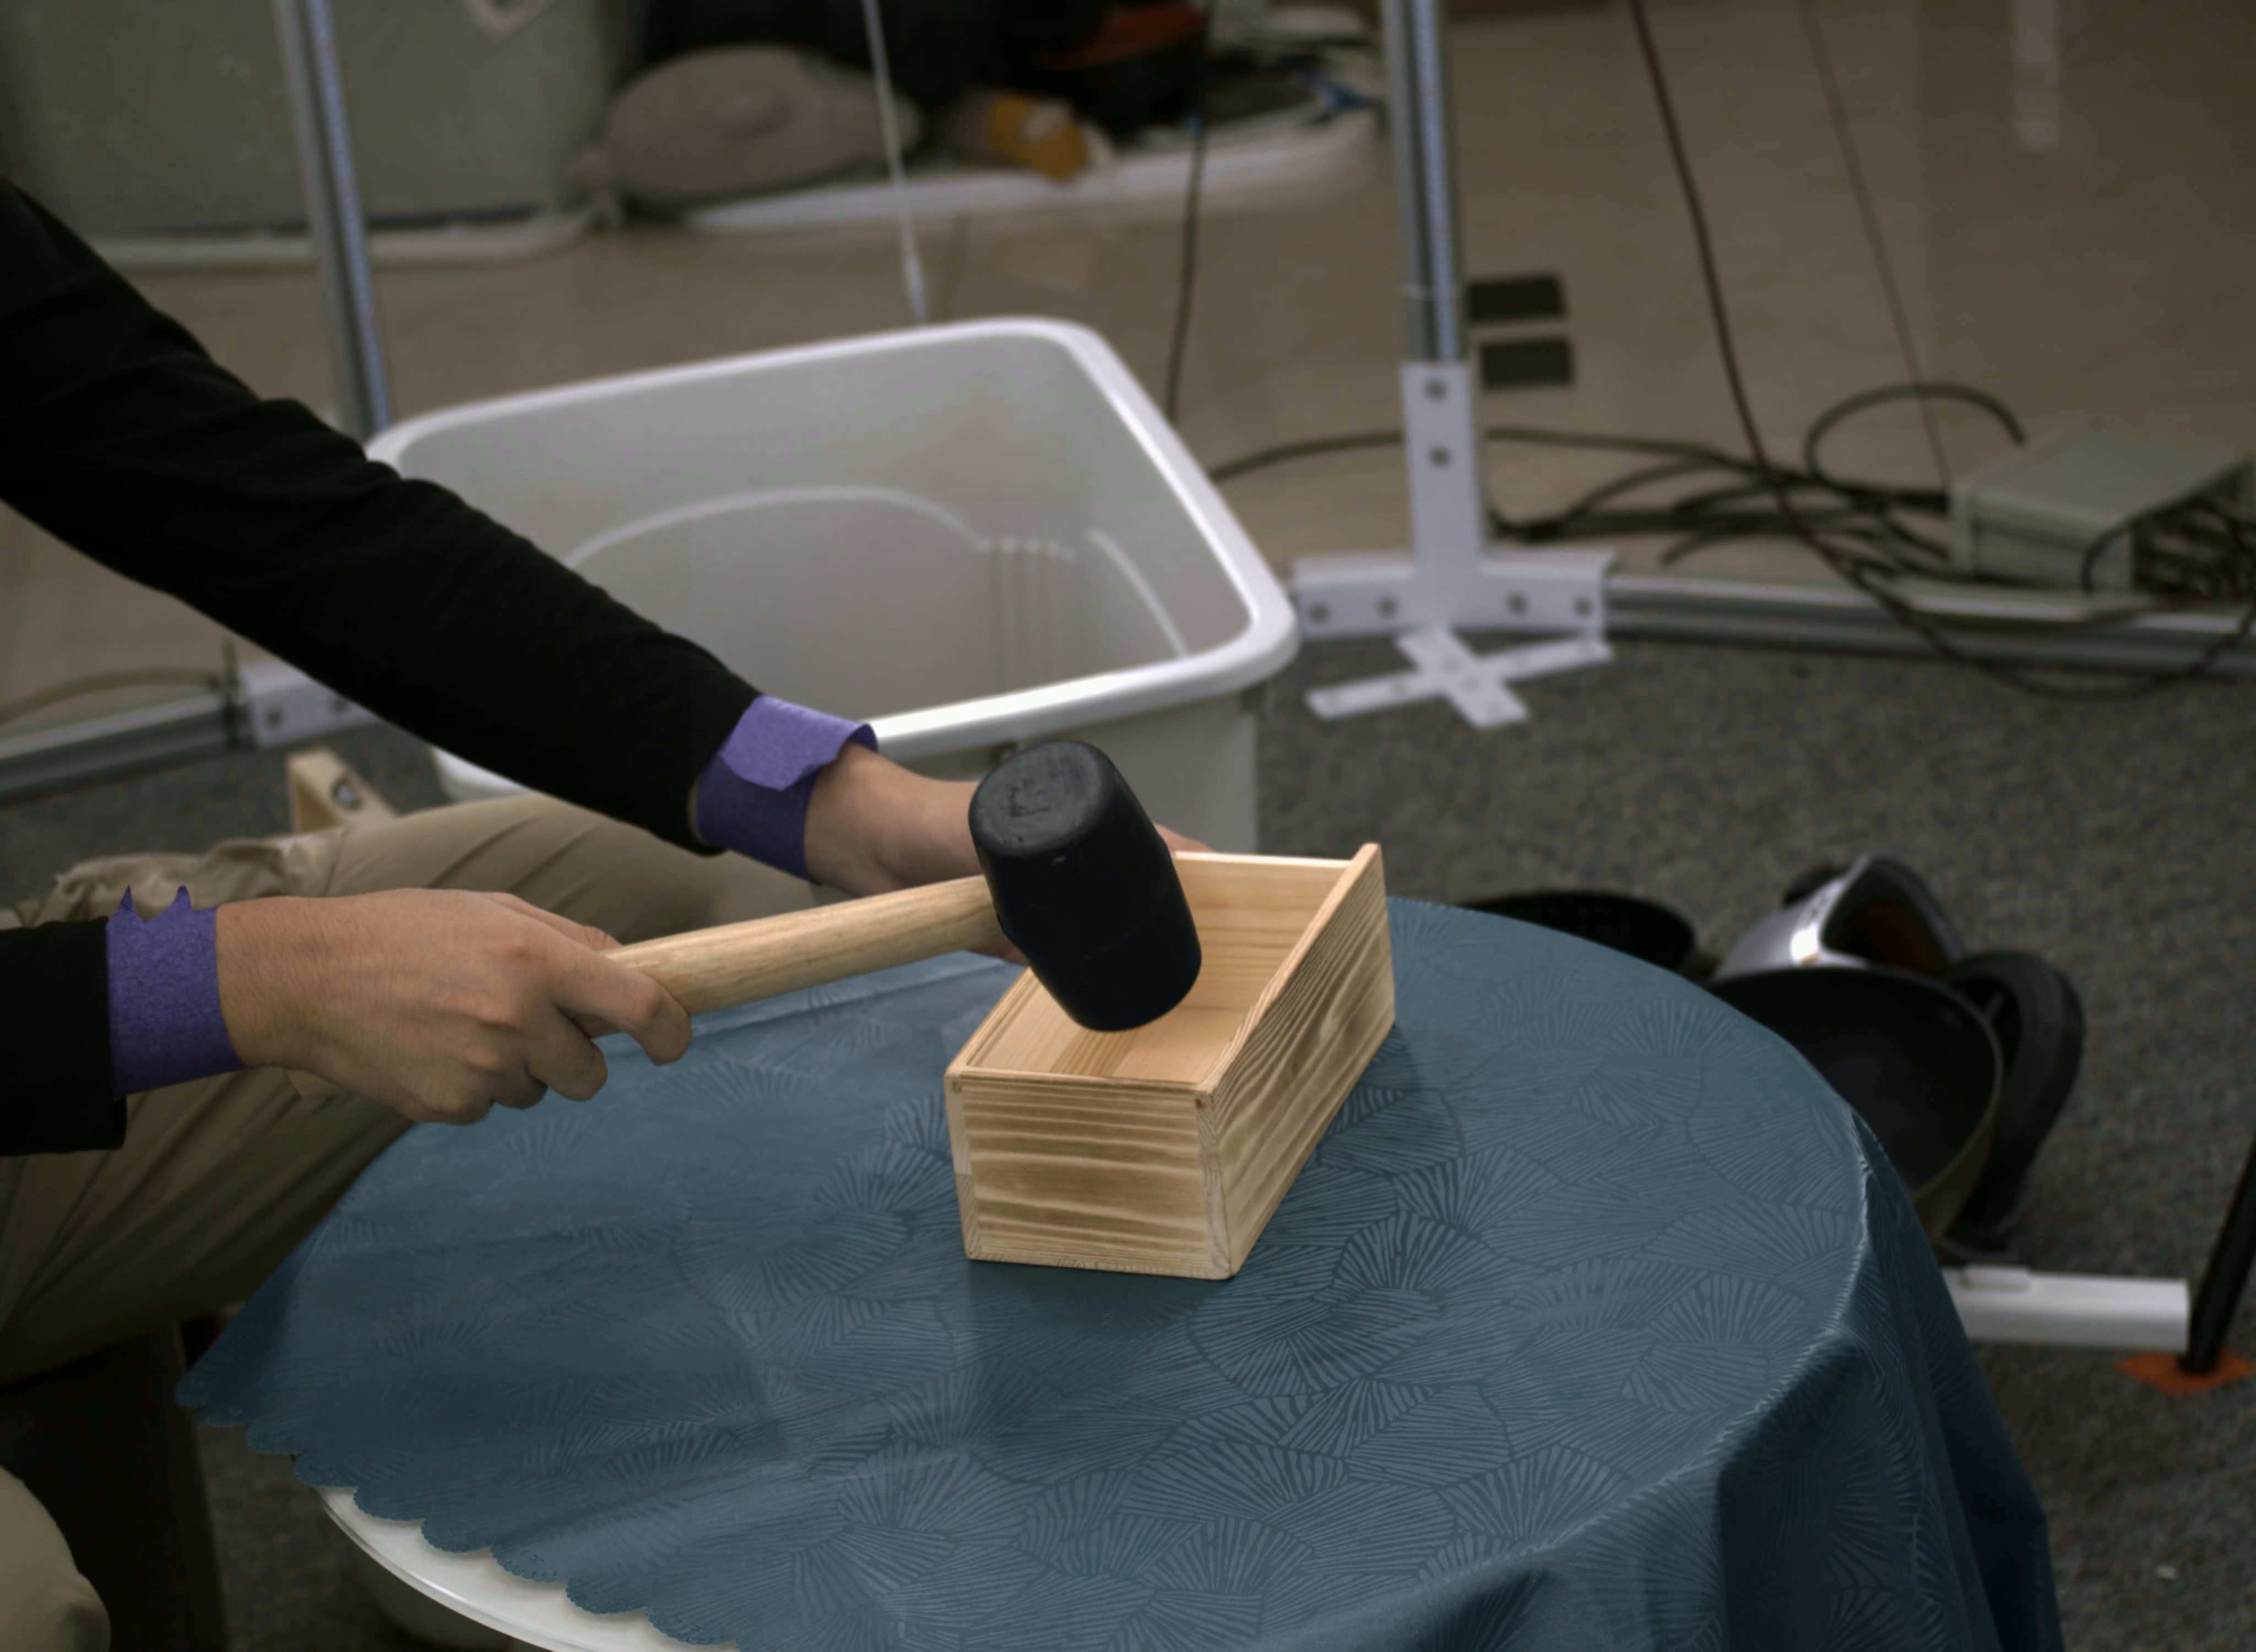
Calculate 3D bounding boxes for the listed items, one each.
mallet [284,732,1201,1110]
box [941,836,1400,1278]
[{"bbox_3d":[-0.144,0.045,2.039,0.339,0.103,0.063,-11,40,18],"label":"mallet"},{"bbox_3d":[0.020,0.085,2.166,0.107,0.081,0.208,3,27,20],"label":"box"}]
